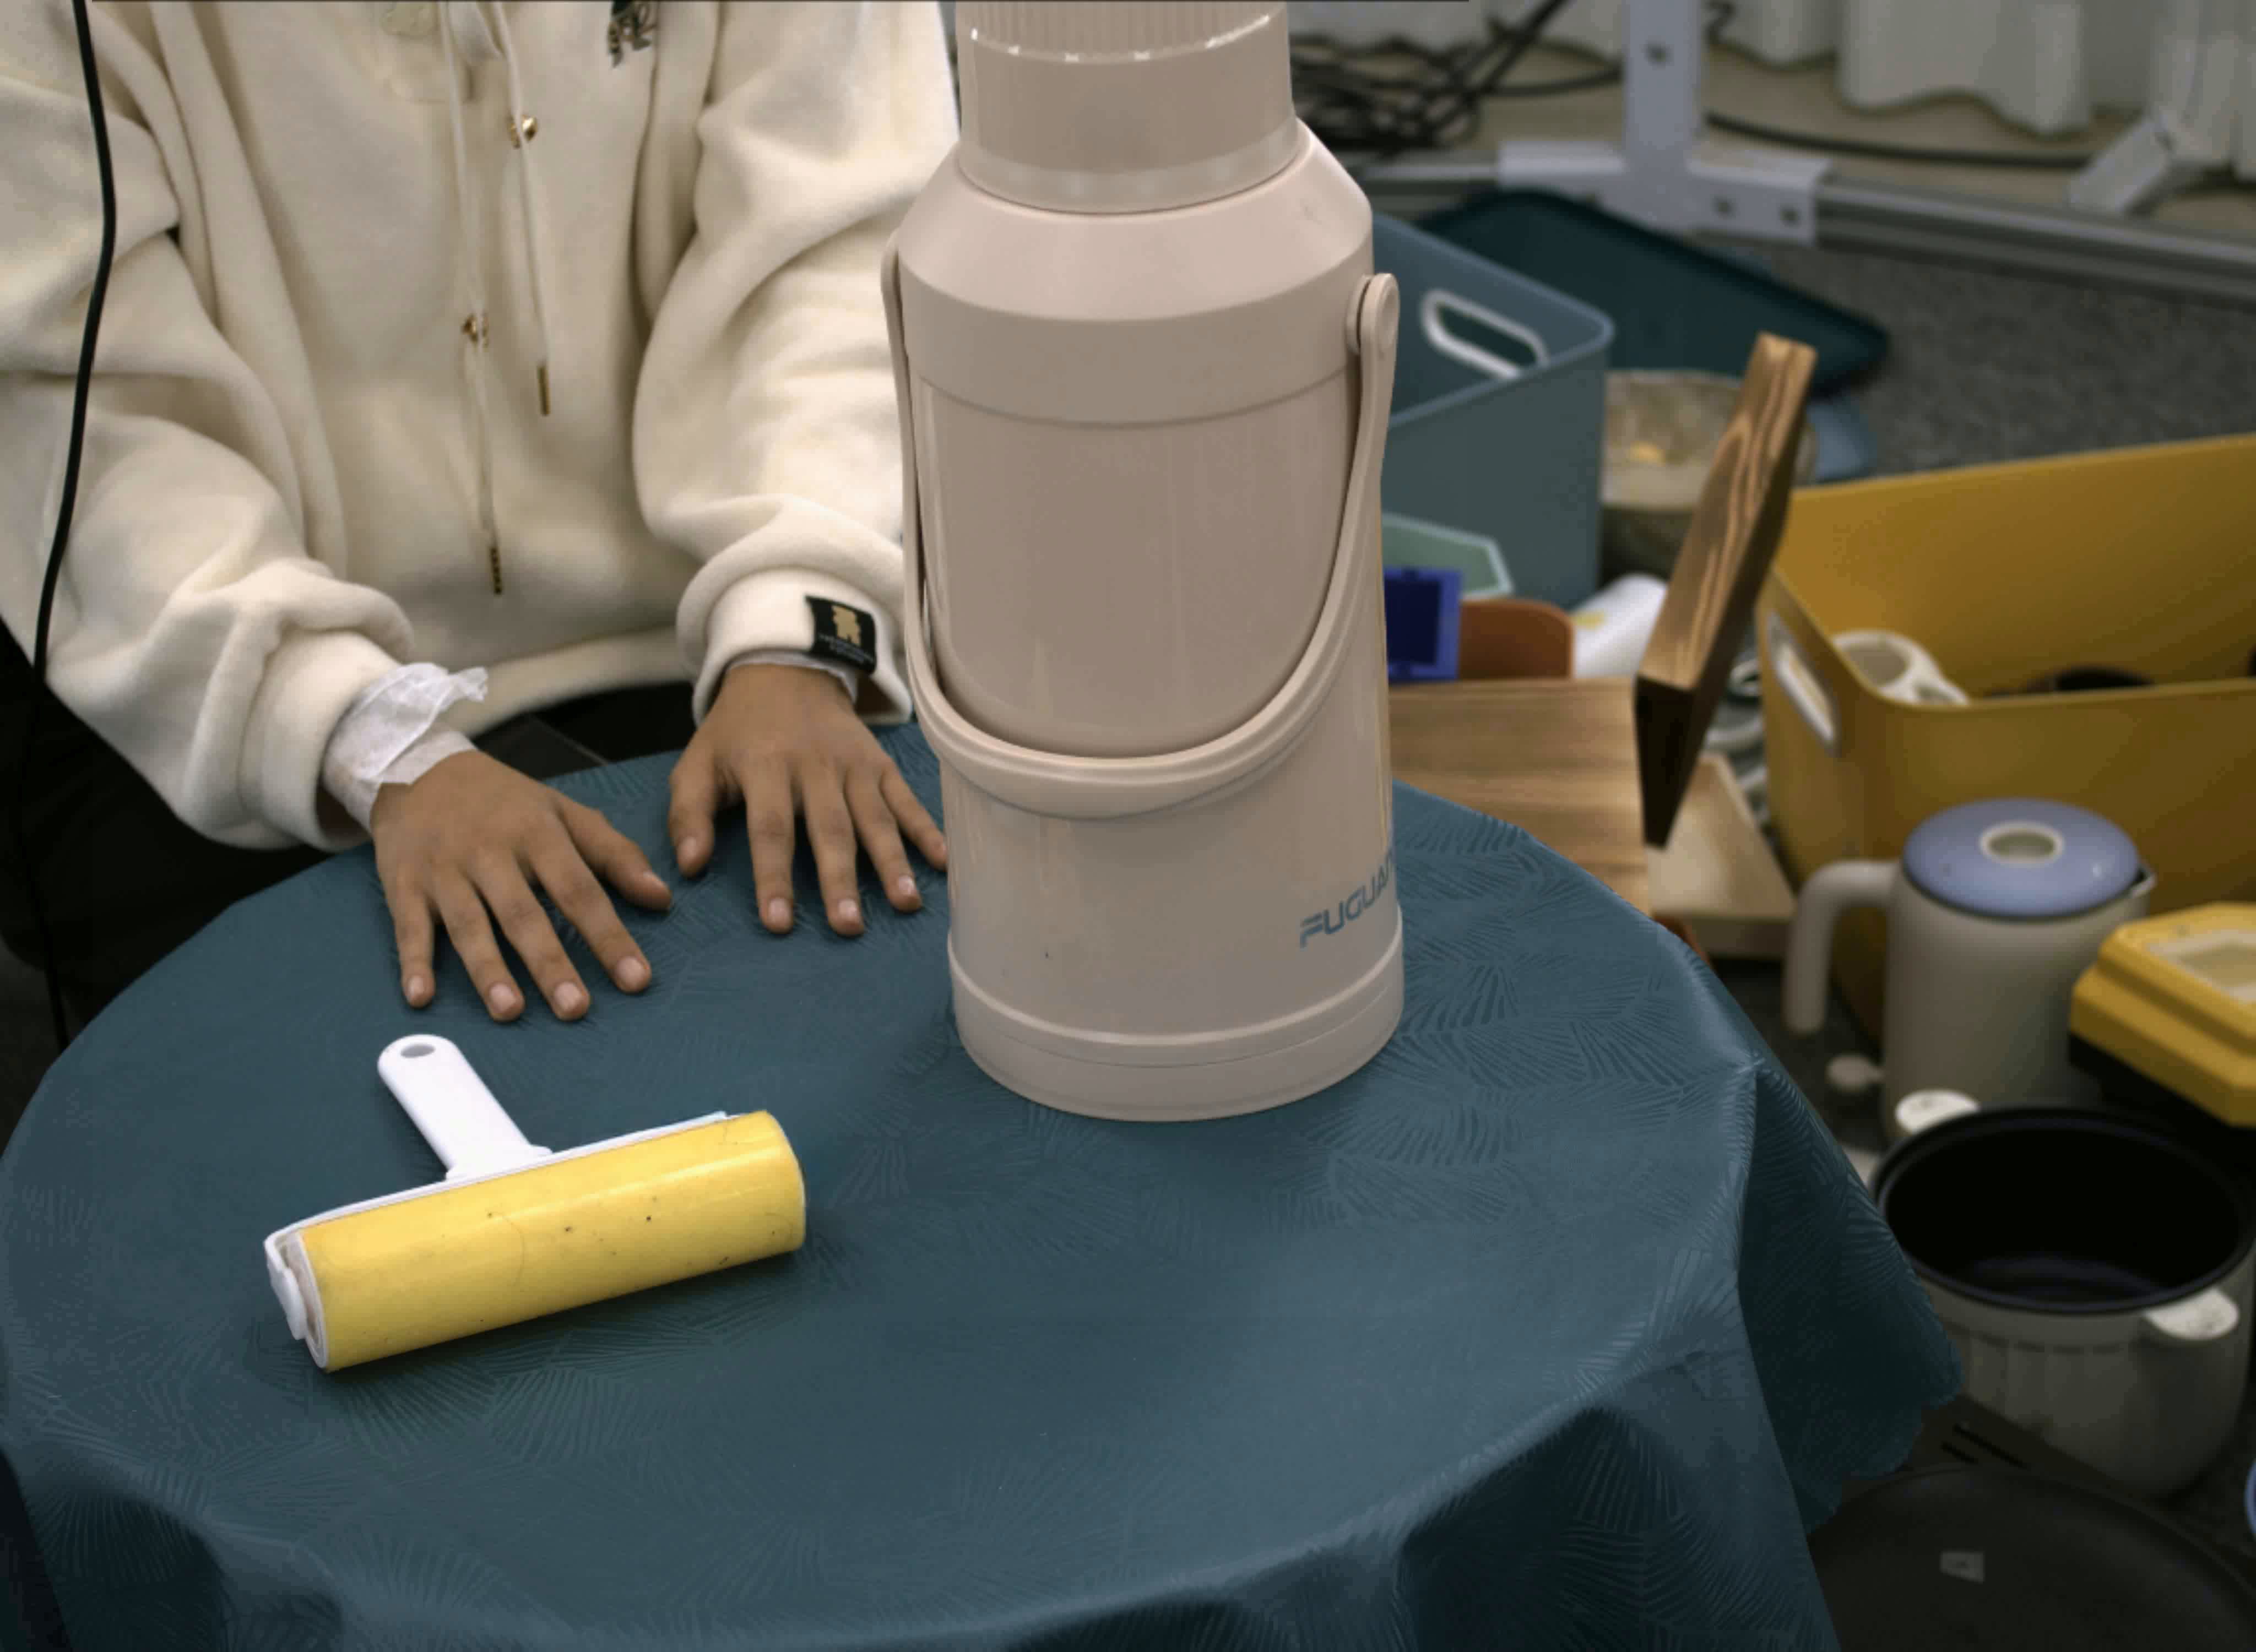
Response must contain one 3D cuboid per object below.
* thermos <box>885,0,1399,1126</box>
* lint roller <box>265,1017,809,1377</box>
[{"bbox_3d":[0.014,-0.116,1.894,0.174,0.402,0.210,7,28,20],"label":"thermos"},{"bbox_3d":[-0.216,0.102,1.863,0.175,0.051,0.194,-13,35,-20],"label":"lint roller"}]
